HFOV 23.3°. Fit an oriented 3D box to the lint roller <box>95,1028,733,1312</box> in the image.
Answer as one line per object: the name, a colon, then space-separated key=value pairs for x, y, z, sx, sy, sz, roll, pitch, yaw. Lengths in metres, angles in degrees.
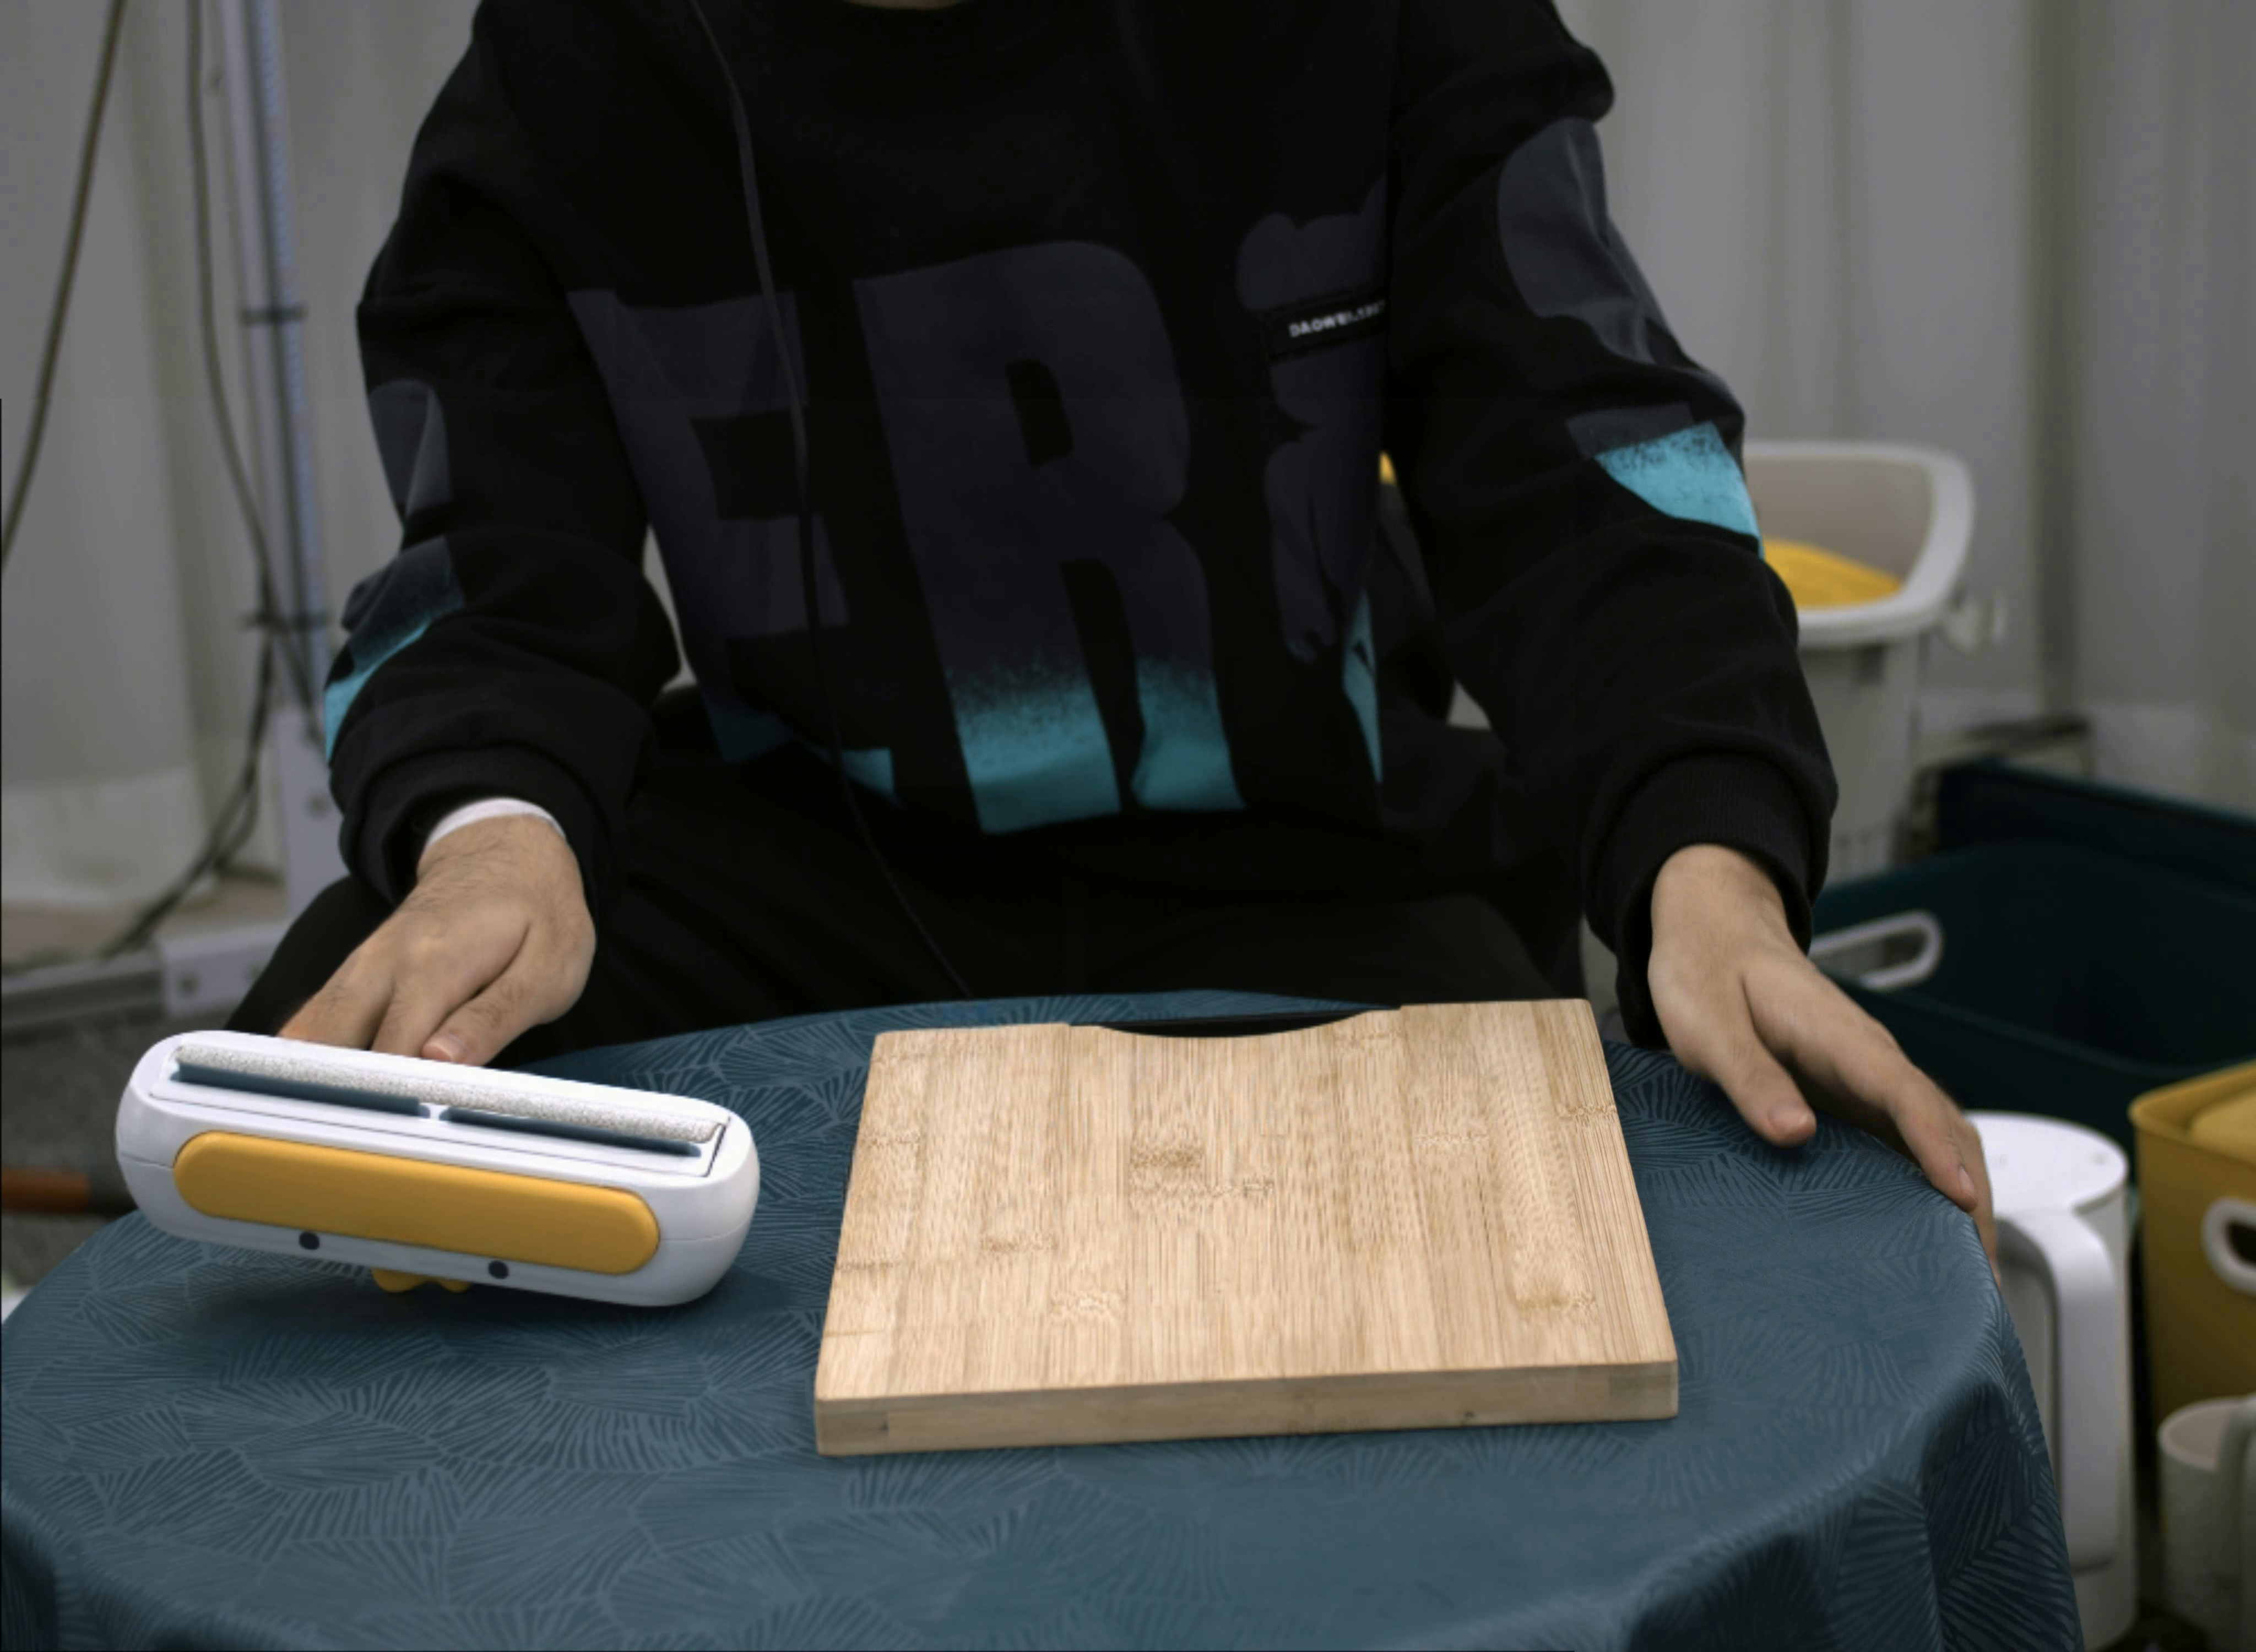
lint roller: x=-0.206 y=0.095 z=1.700 sx=0.192 sy=0.074 sz=0.193 roll=5 pitch=14 yaw=8

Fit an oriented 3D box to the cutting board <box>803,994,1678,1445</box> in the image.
cutting board: x=0.034 y=0.116 z=1.673 sx=0.250 sy=0.023 sz=0.351 roll=-3 pitch=15 yaw=1
